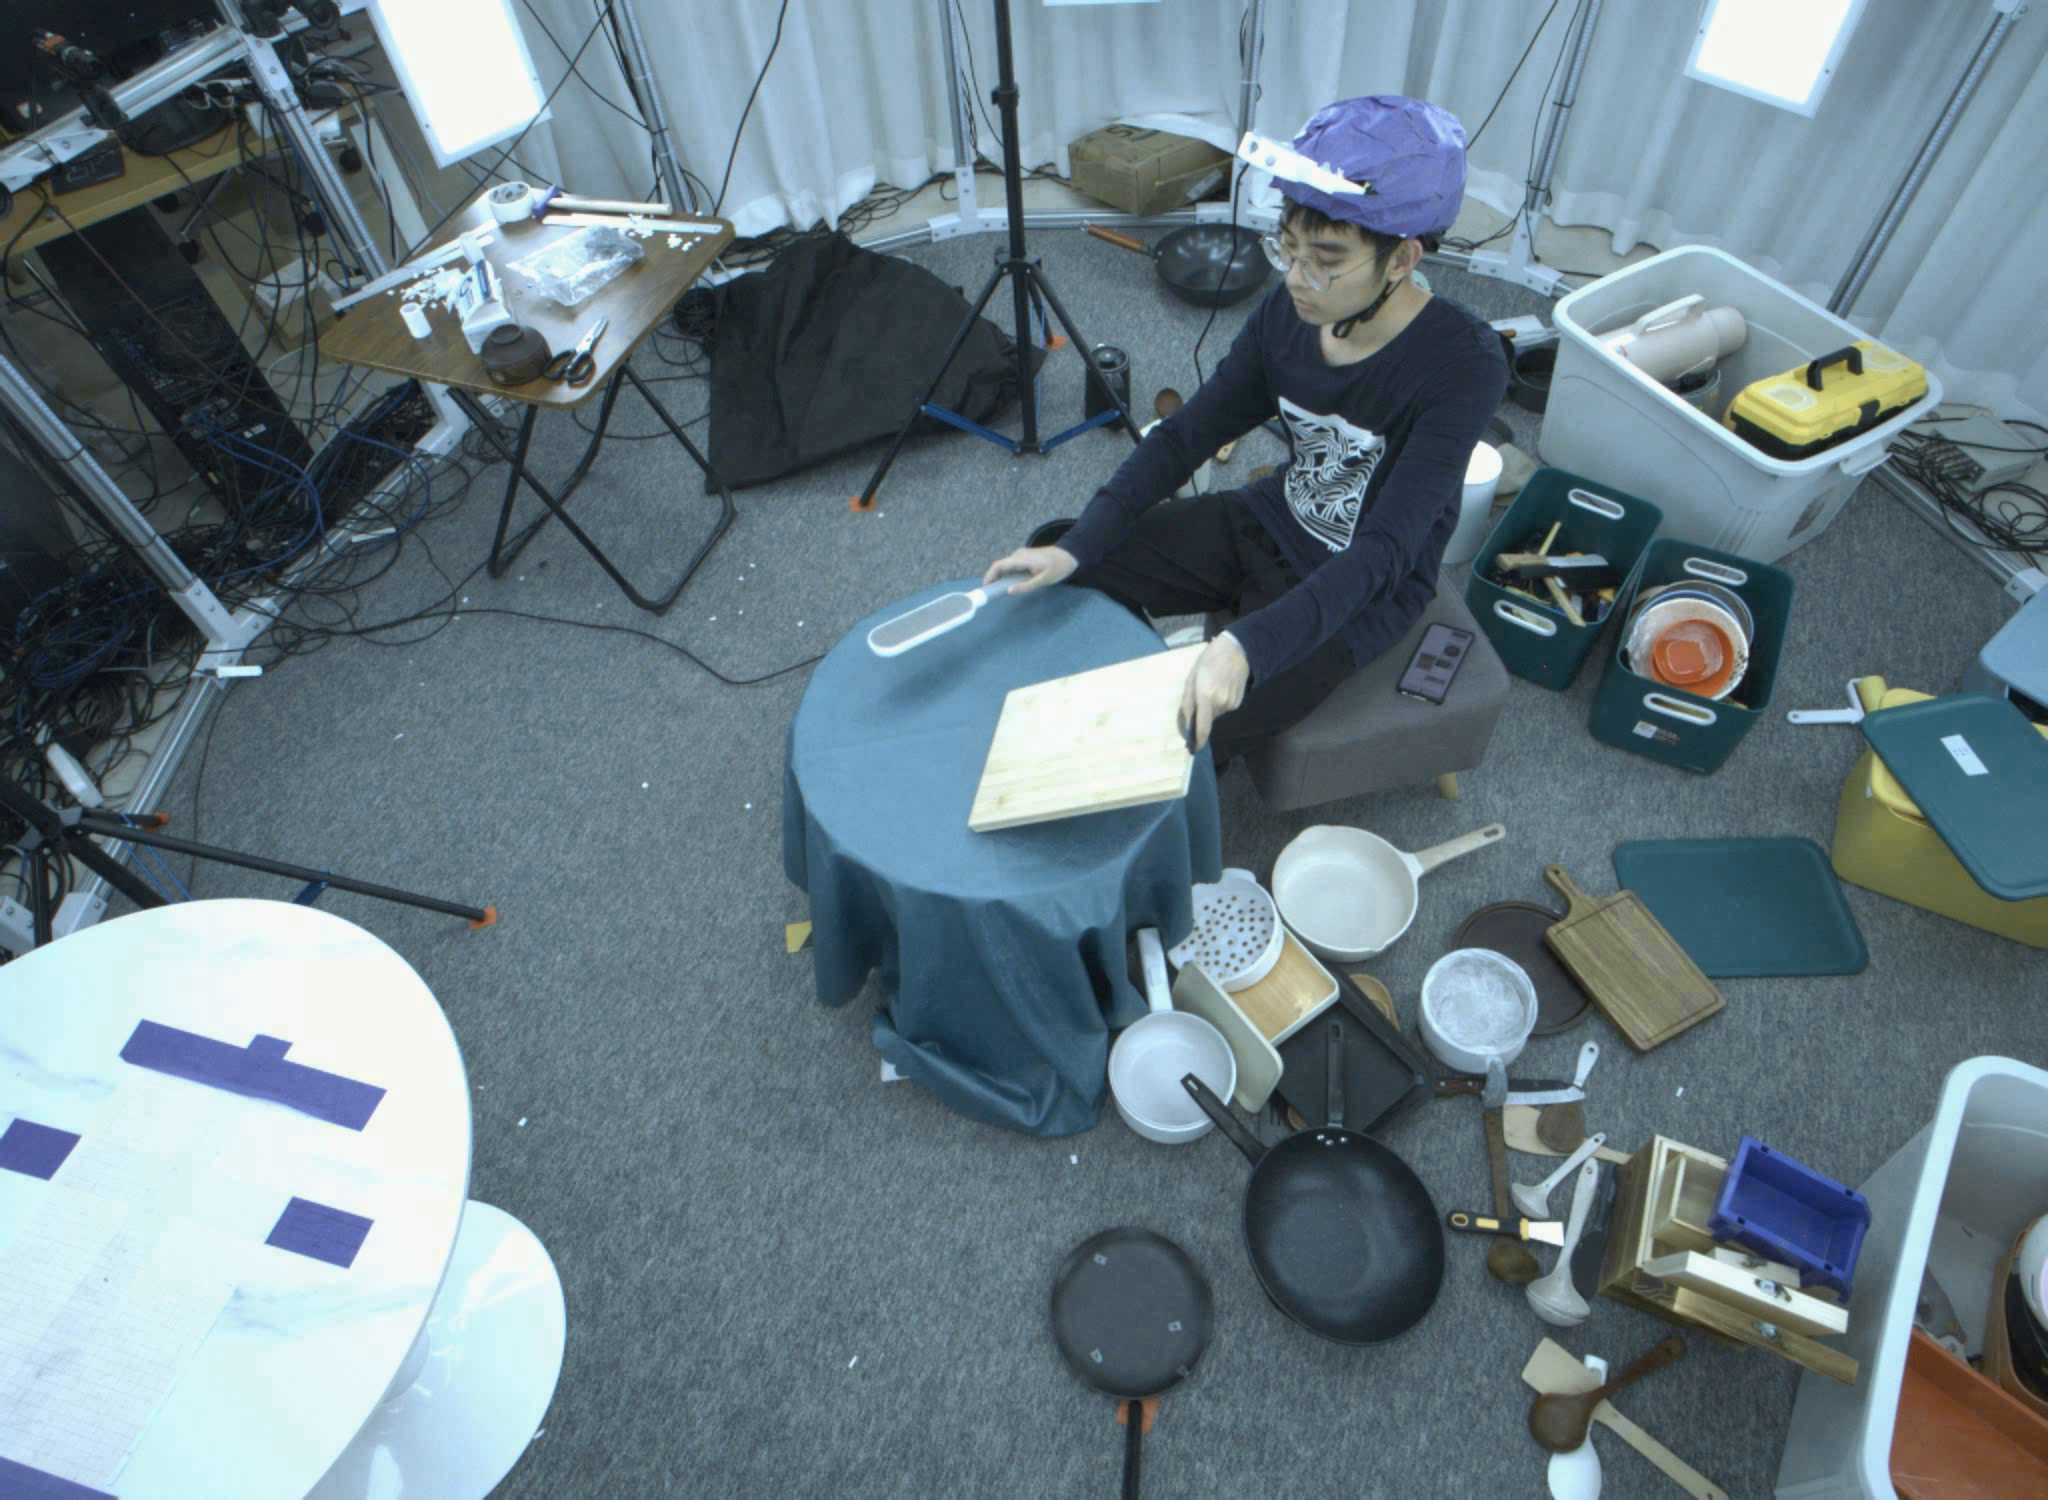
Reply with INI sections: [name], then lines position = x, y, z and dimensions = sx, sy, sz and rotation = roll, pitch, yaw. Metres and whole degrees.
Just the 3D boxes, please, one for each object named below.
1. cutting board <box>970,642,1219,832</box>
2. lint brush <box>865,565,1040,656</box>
[cutting board]
position = 0.094, -0.015, 1.680
dimensions = 0.343, 0.024, 0.249
rotation = -12, 48, 34
[lint brush]
position = -0.103, -0.215, 1.857
dimensions = 0.312, 0.021, 0.059
rotation = -28, 53, -24
